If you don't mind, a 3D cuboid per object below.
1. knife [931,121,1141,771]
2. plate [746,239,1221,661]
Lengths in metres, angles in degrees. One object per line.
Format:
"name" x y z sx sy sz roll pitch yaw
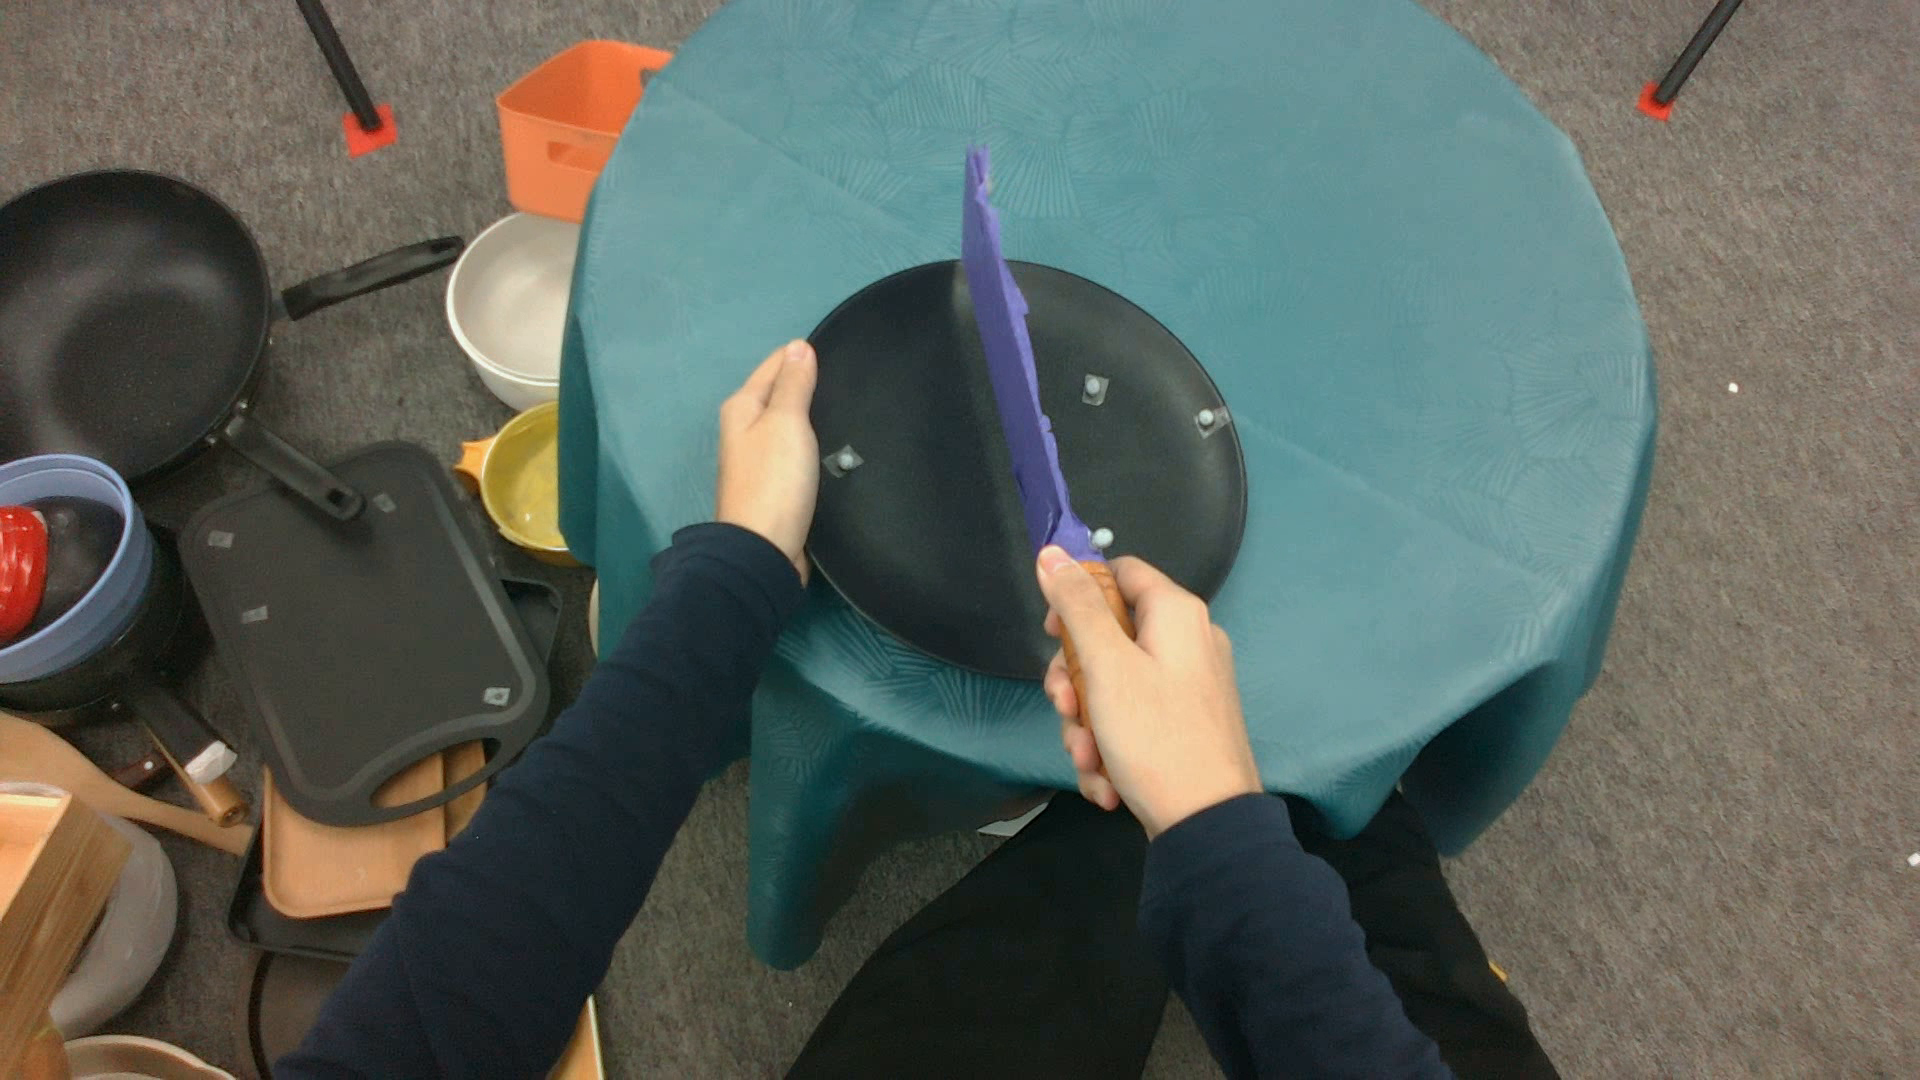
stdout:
"knife" 0.026 -0.040 0.630 0.032 0.103 0.316 -9 65 -6
"plate" 0.014 -0.049 0.696 0.244 0.023 0.245 6 62 -11
